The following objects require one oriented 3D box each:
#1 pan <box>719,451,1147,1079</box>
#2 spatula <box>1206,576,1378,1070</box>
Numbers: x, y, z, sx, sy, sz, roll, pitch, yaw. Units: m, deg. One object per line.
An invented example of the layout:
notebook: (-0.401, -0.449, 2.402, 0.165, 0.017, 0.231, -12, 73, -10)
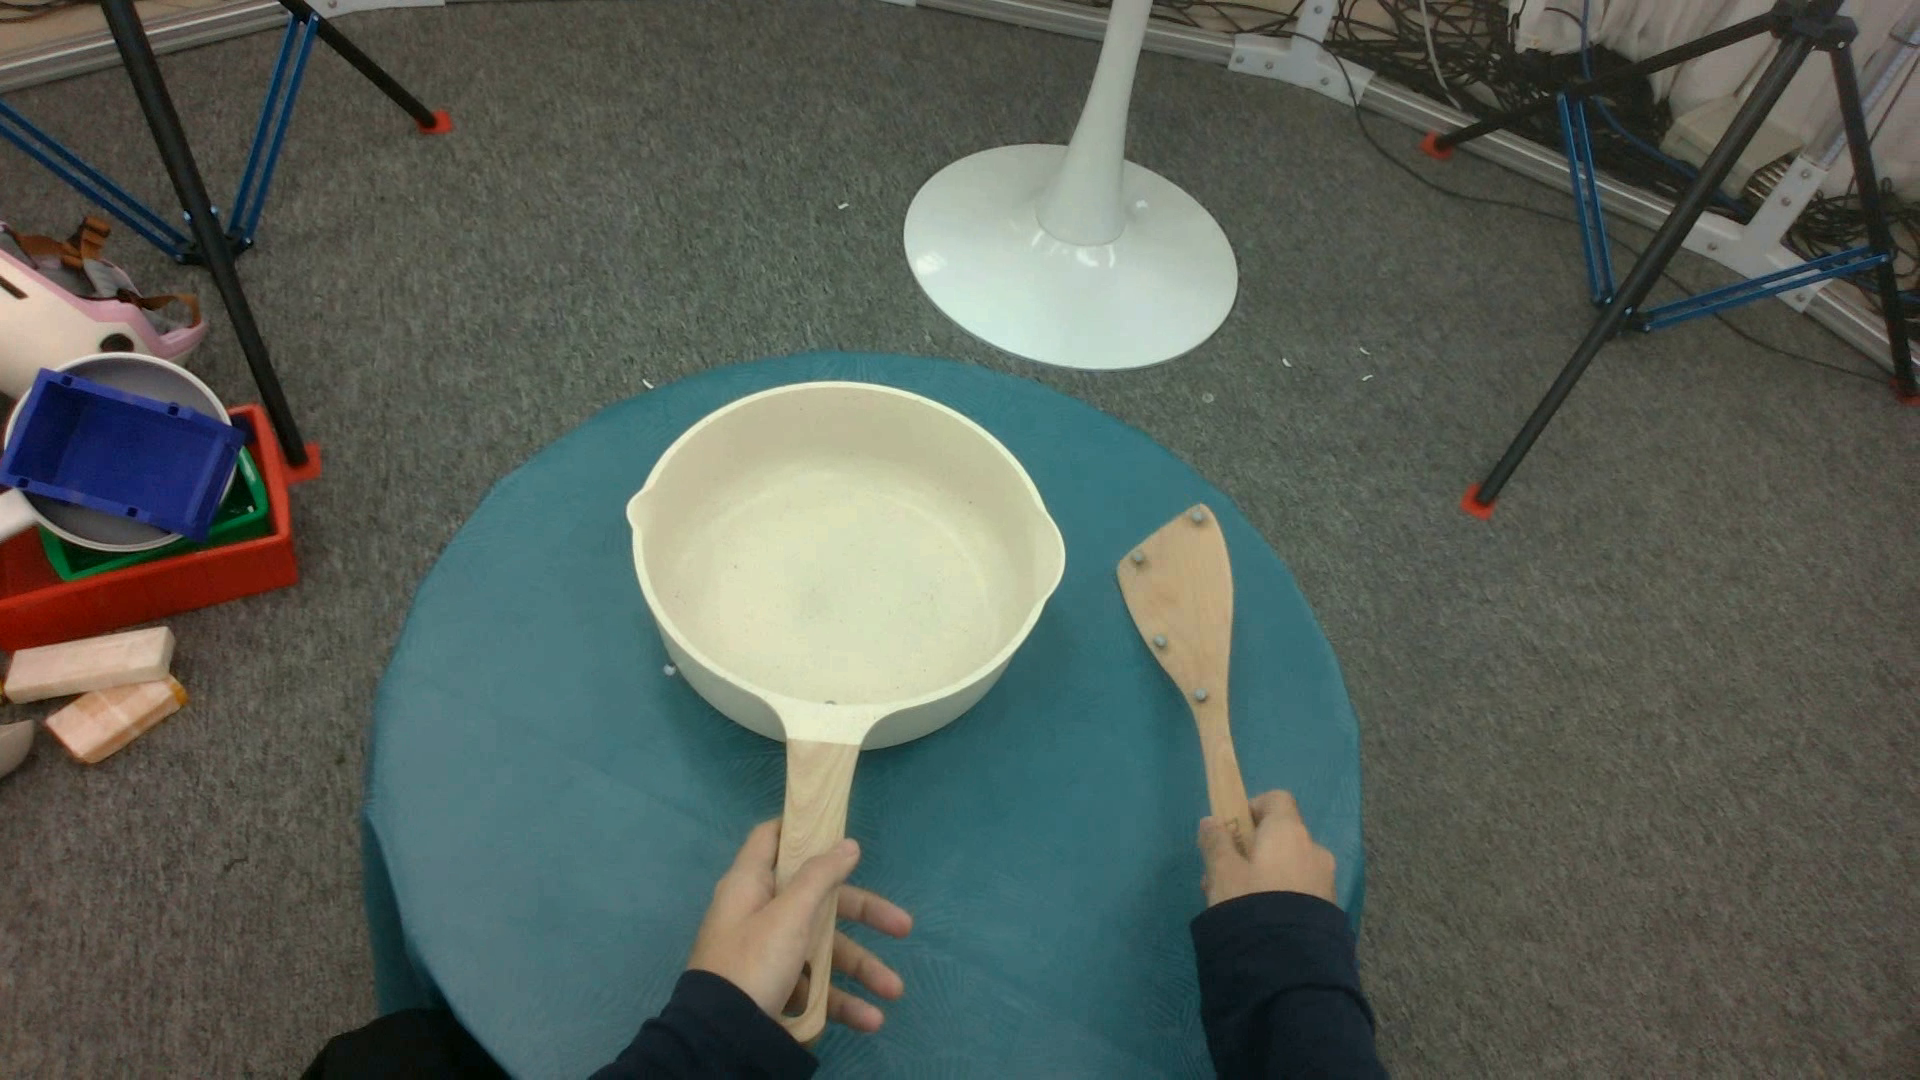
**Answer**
pan: (-0.027, 0.128, 0.804, 0.263, 0.101, 0.437, 8, 49, -1)
spatula: (0.200, 0.155, 0.818, 0.079, 0.016, 0.329, -31, 36, 26)
